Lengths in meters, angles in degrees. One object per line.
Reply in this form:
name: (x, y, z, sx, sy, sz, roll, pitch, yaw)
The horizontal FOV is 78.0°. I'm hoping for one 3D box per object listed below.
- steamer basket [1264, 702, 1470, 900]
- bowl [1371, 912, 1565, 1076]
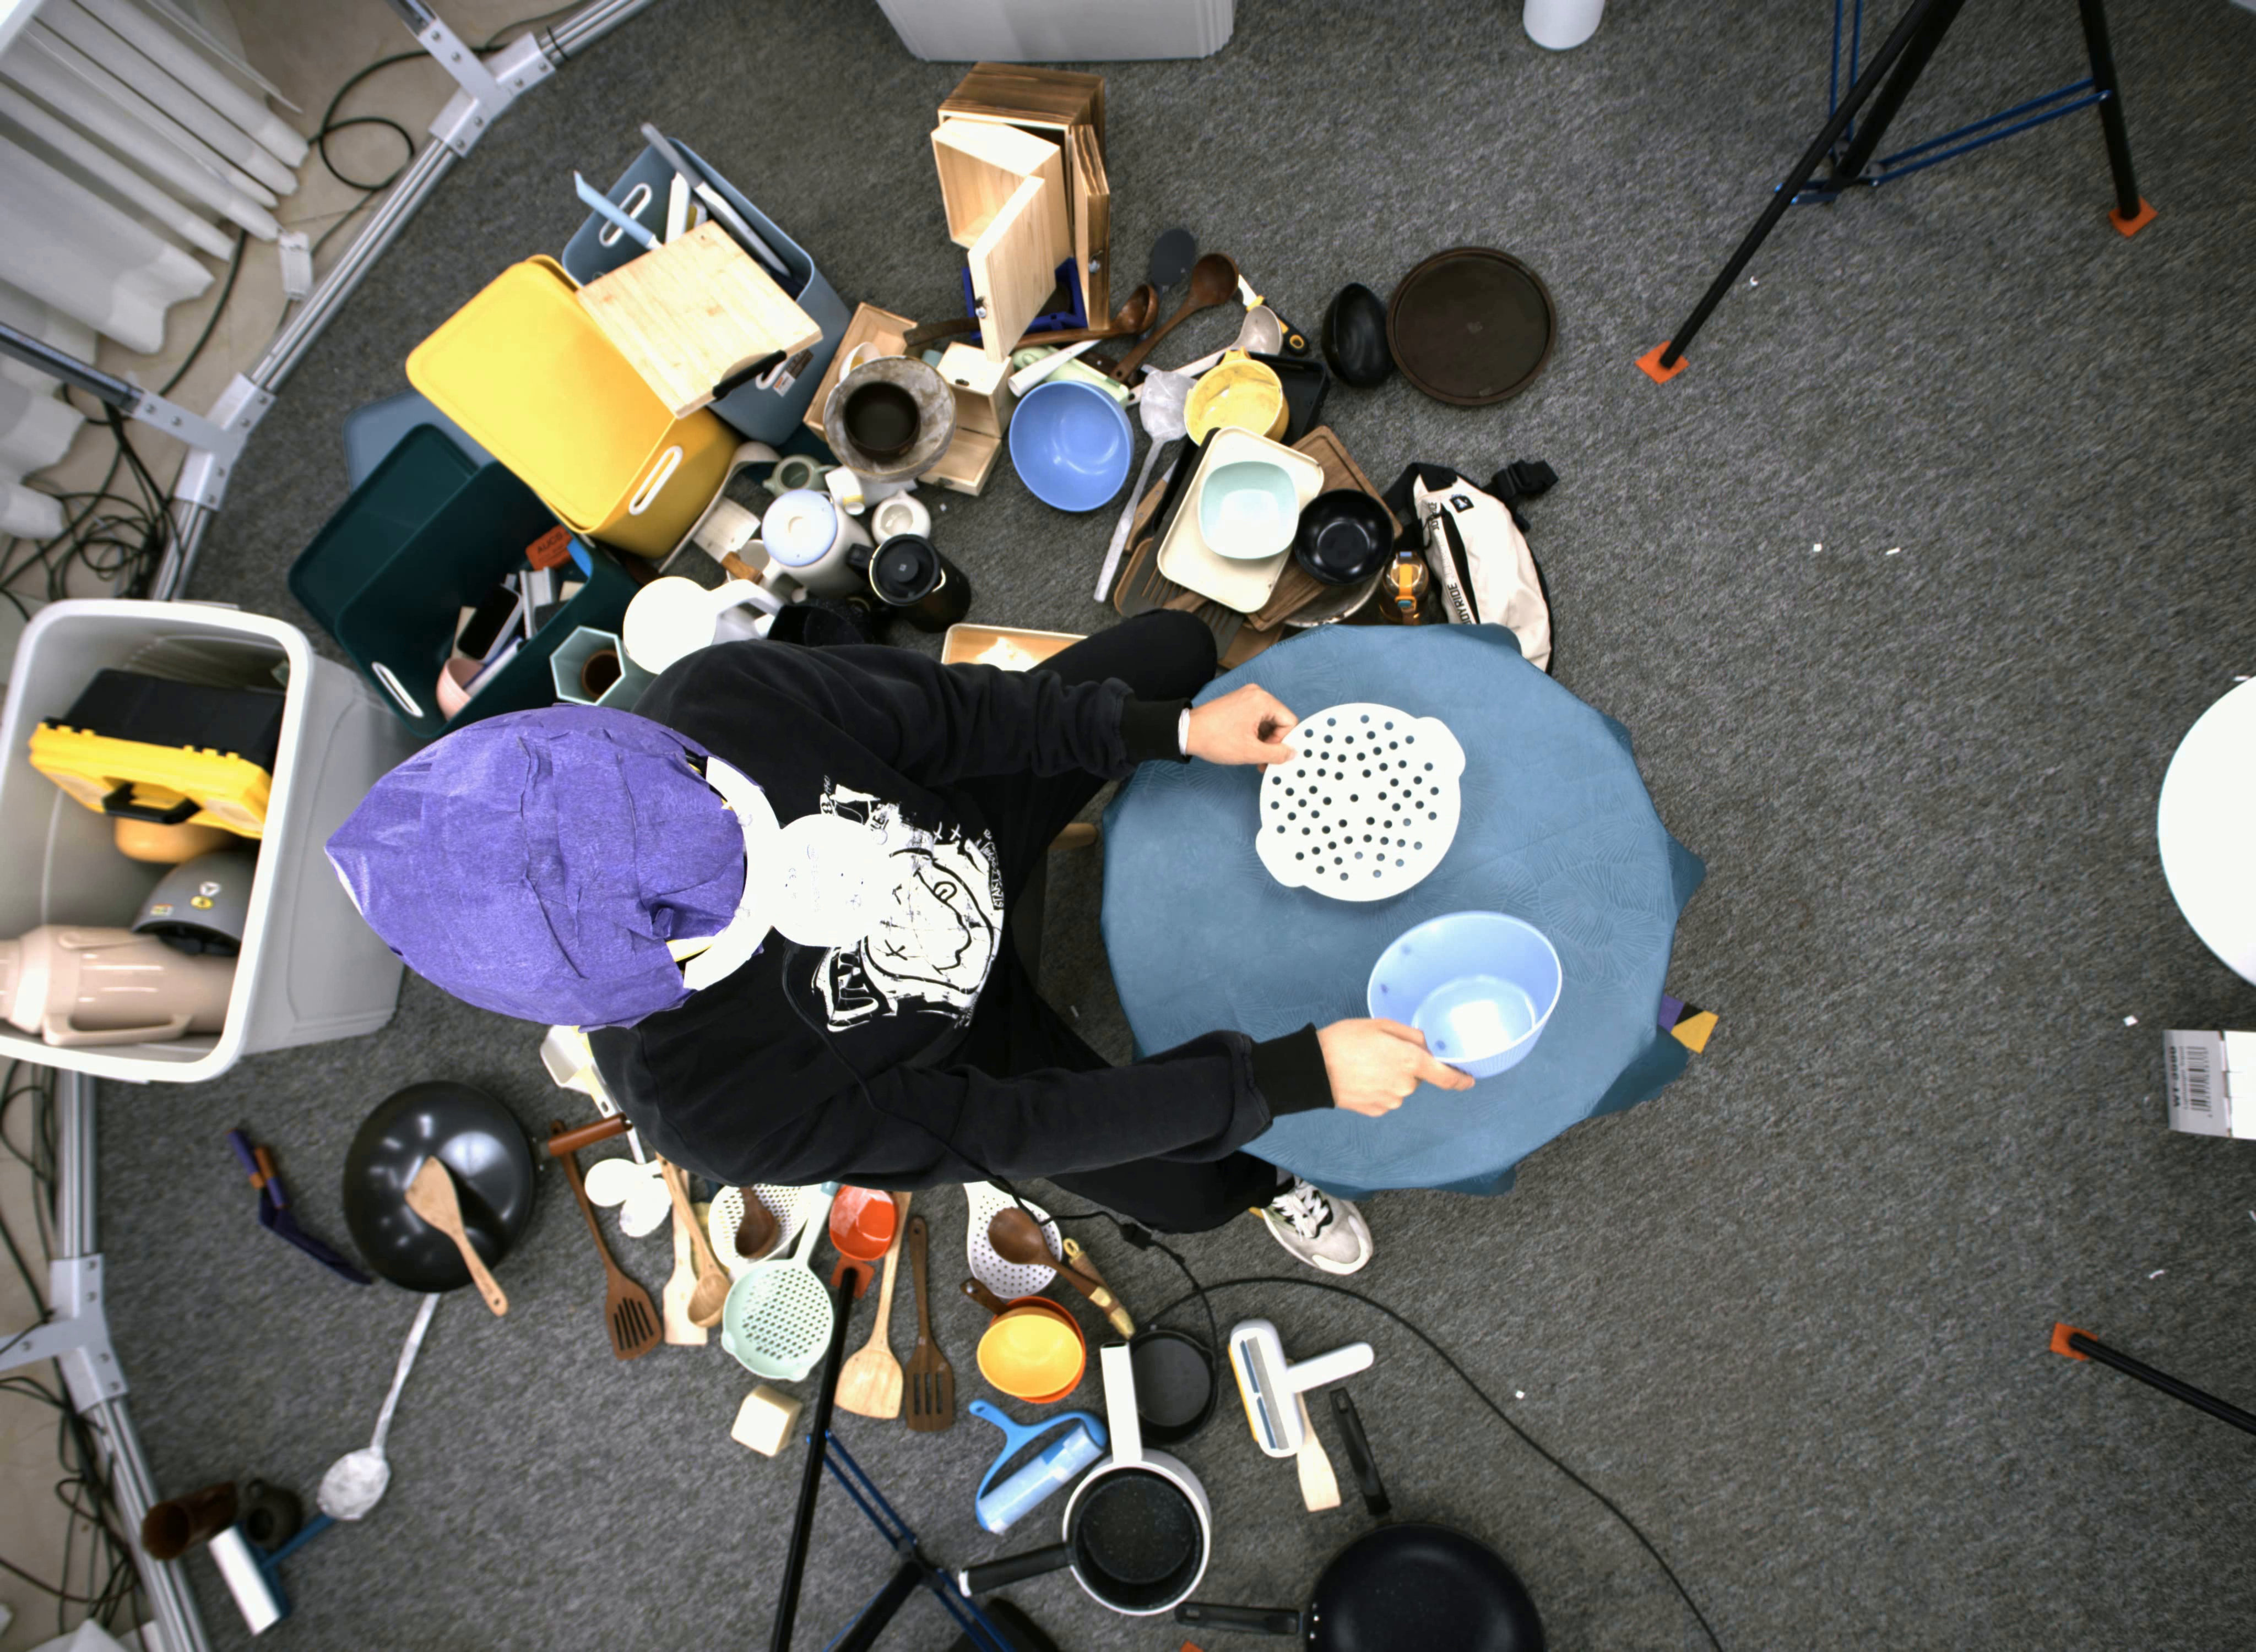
steamer basket: (0.243, -0.028, 1.425, 0.231, 0.069, 0.202, -36, 93, 5)
bowl: (0.317, 0.162, 1.271, 0.177, 0.071, 0.171, -16, 39, 13)
